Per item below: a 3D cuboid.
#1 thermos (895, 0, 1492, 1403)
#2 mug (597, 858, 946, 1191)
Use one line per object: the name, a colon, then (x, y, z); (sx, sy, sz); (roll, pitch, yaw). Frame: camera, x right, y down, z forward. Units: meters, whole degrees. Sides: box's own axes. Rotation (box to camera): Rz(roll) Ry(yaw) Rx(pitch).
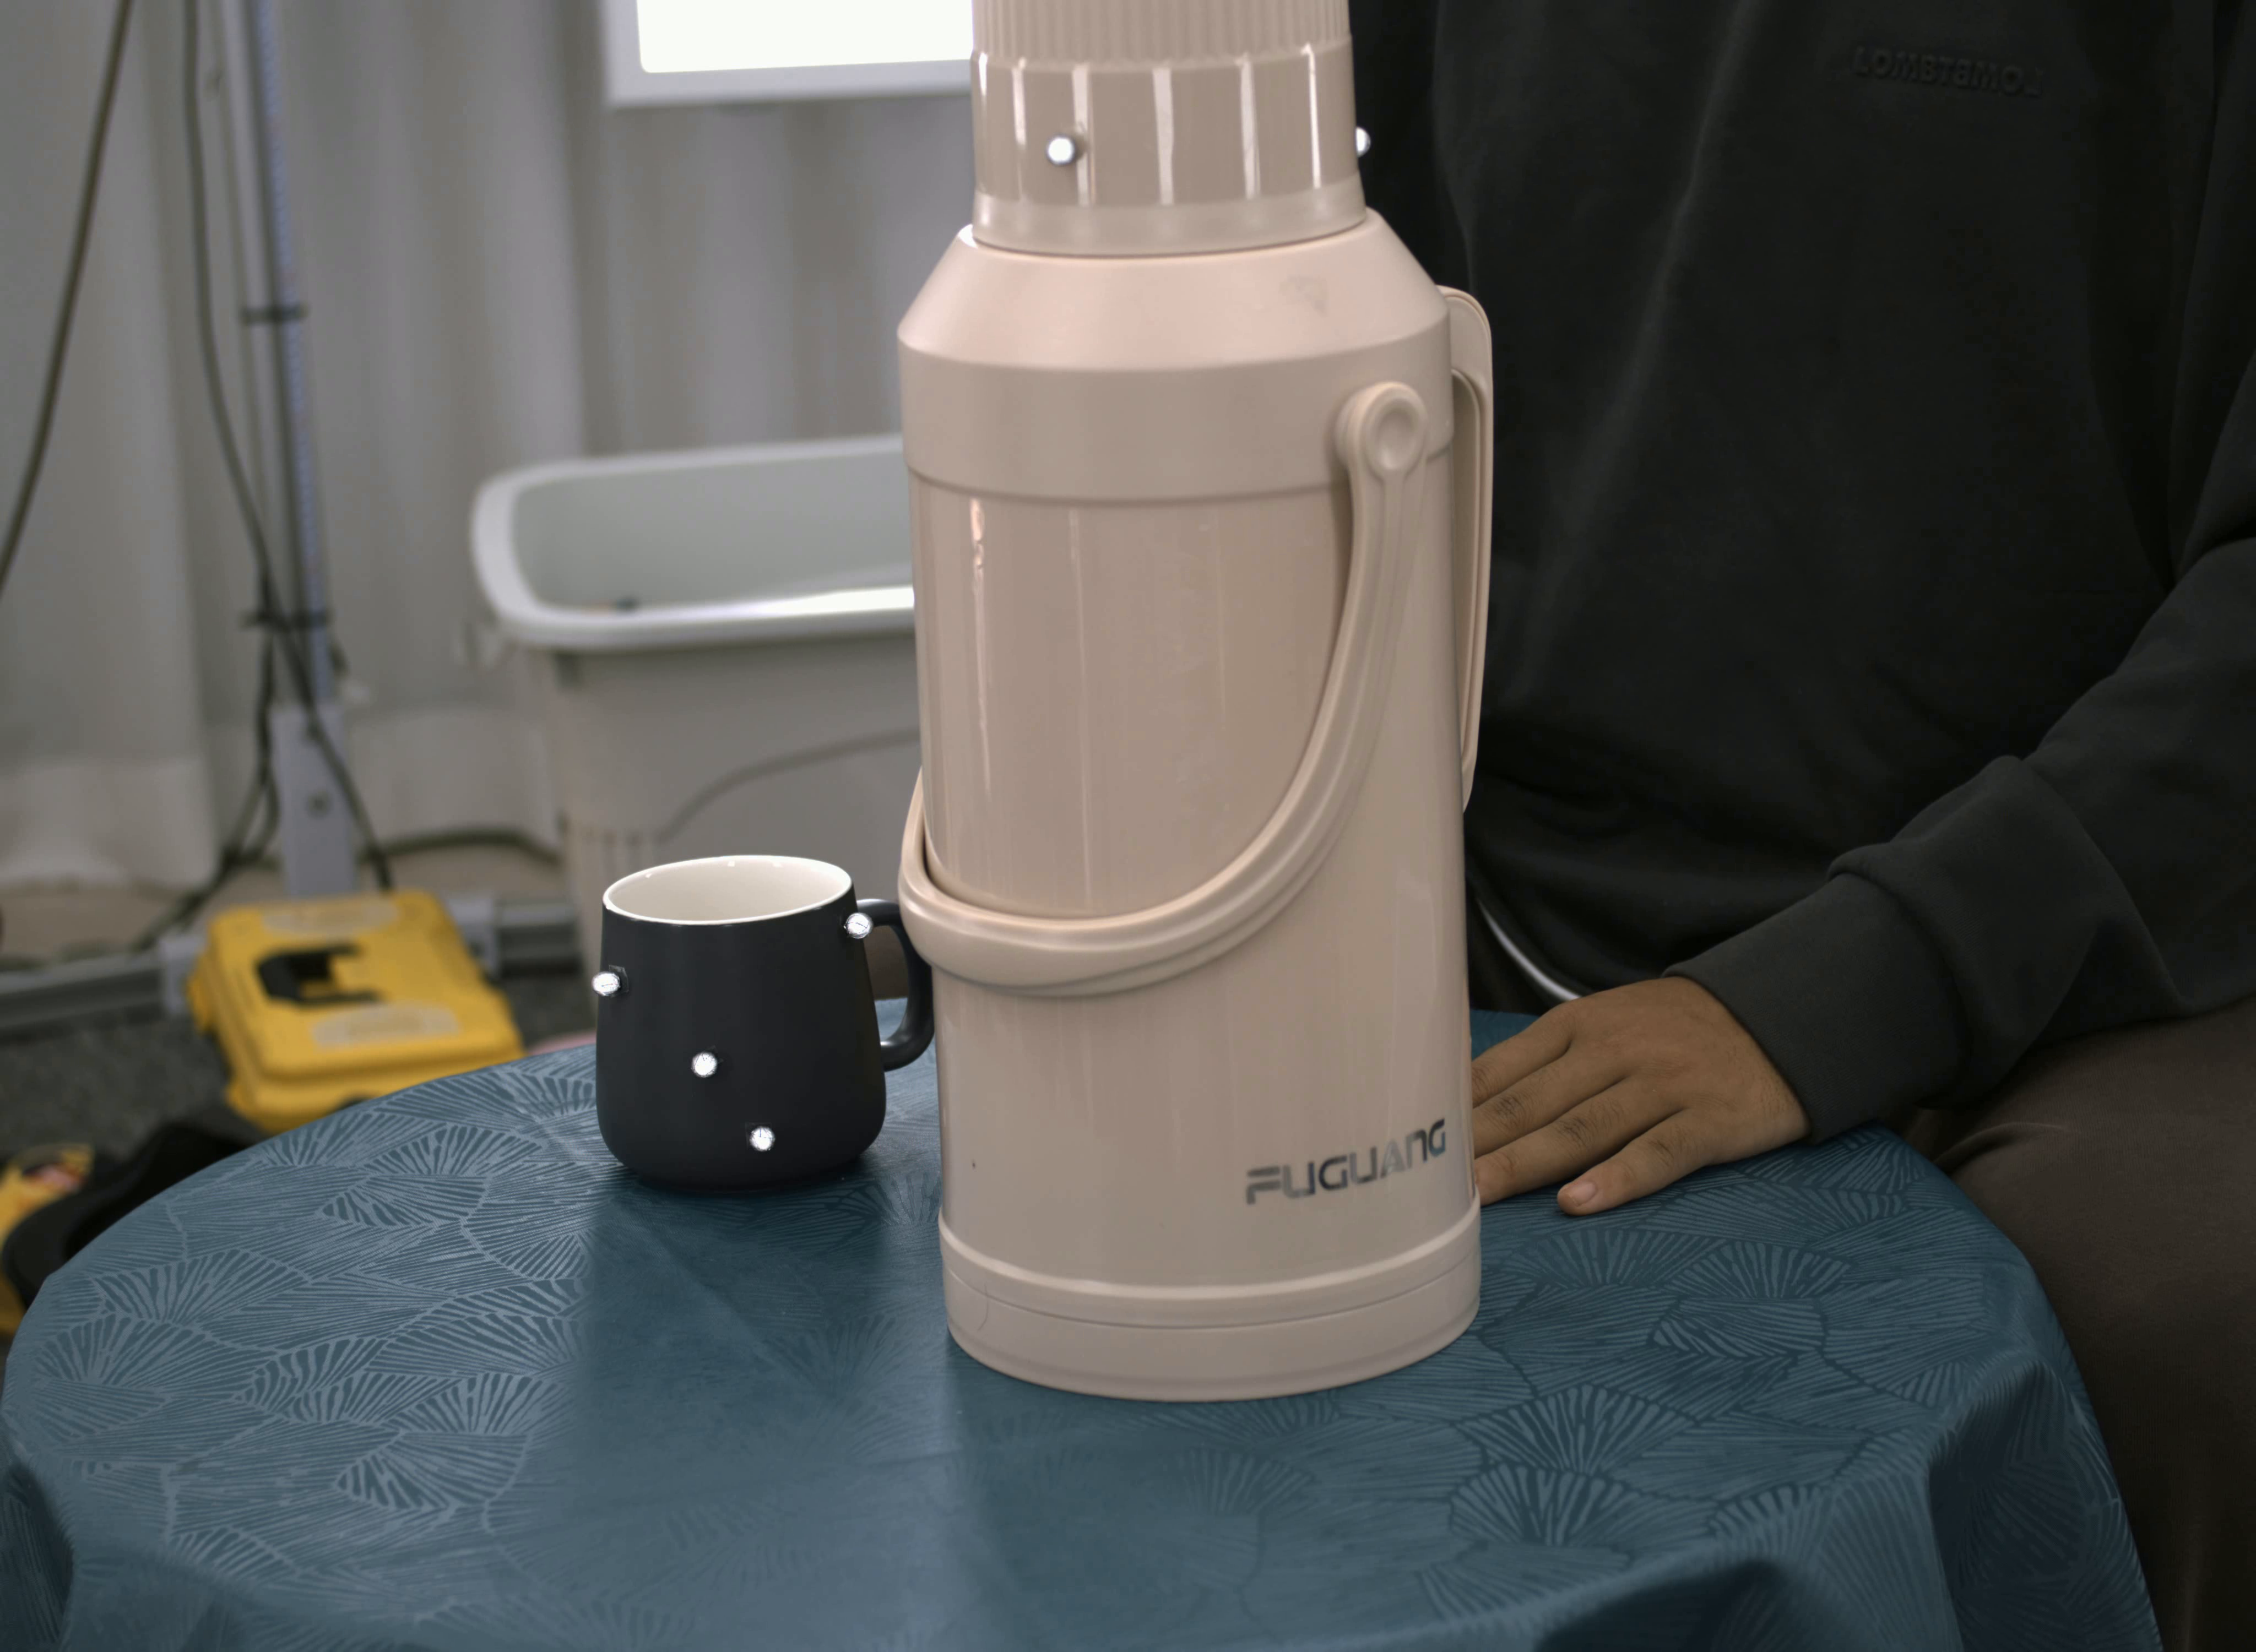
thermos: (0.027, -0.052, 1.575); (0.206, 0.405, 0.176); (-15, 18, -41)
mug: (-0.113, 0.061, 1.764); (0.123, 0.089, 0.094); (-12, 17, -32)
